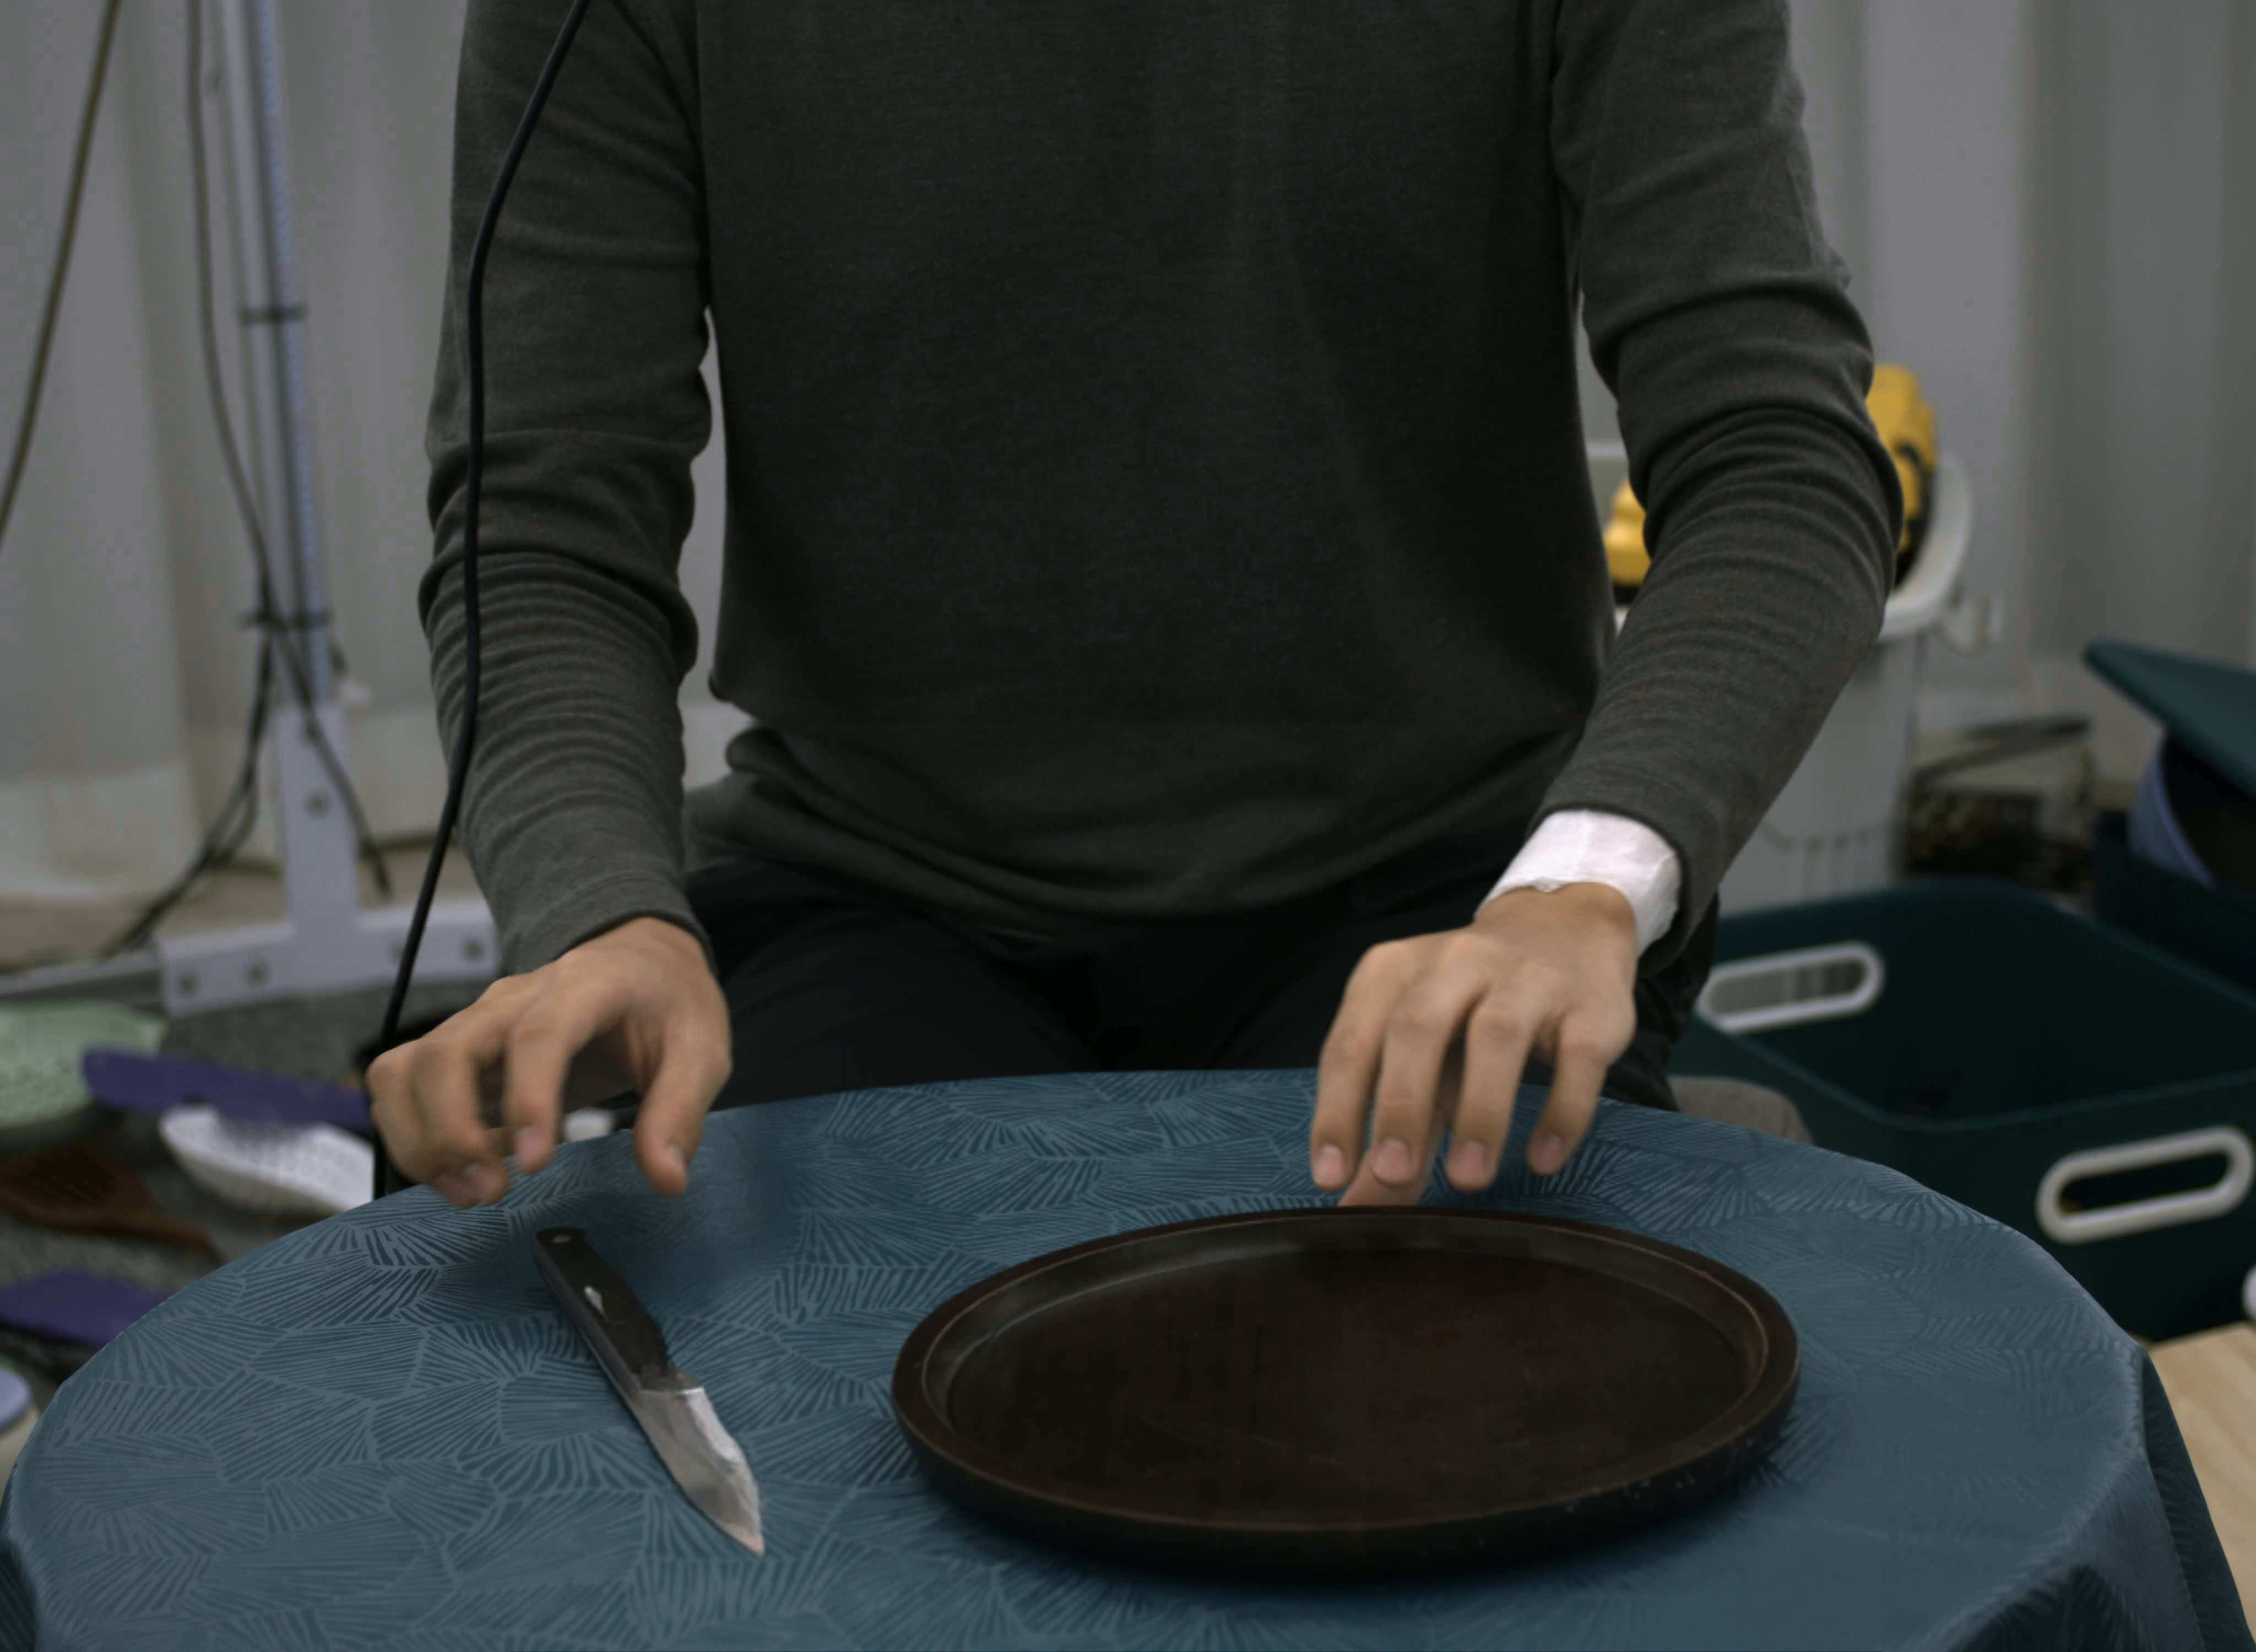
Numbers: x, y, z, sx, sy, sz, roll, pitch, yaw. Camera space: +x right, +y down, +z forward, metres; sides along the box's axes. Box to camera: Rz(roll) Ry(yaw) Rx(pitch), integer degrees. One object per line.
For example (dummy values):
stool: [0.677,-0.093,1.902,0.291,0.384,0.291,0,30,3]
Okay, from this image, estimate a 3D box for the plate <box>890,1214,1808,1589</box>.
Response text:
plate: [0.060,0.155,1.508,0.254,0.029,0.256,-2,16,0]

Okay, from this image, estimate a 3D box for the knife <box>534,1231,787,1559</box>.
knife: [-0.134,0.161,1.546,0.024,0.016,0.240,-9,18,-18]
